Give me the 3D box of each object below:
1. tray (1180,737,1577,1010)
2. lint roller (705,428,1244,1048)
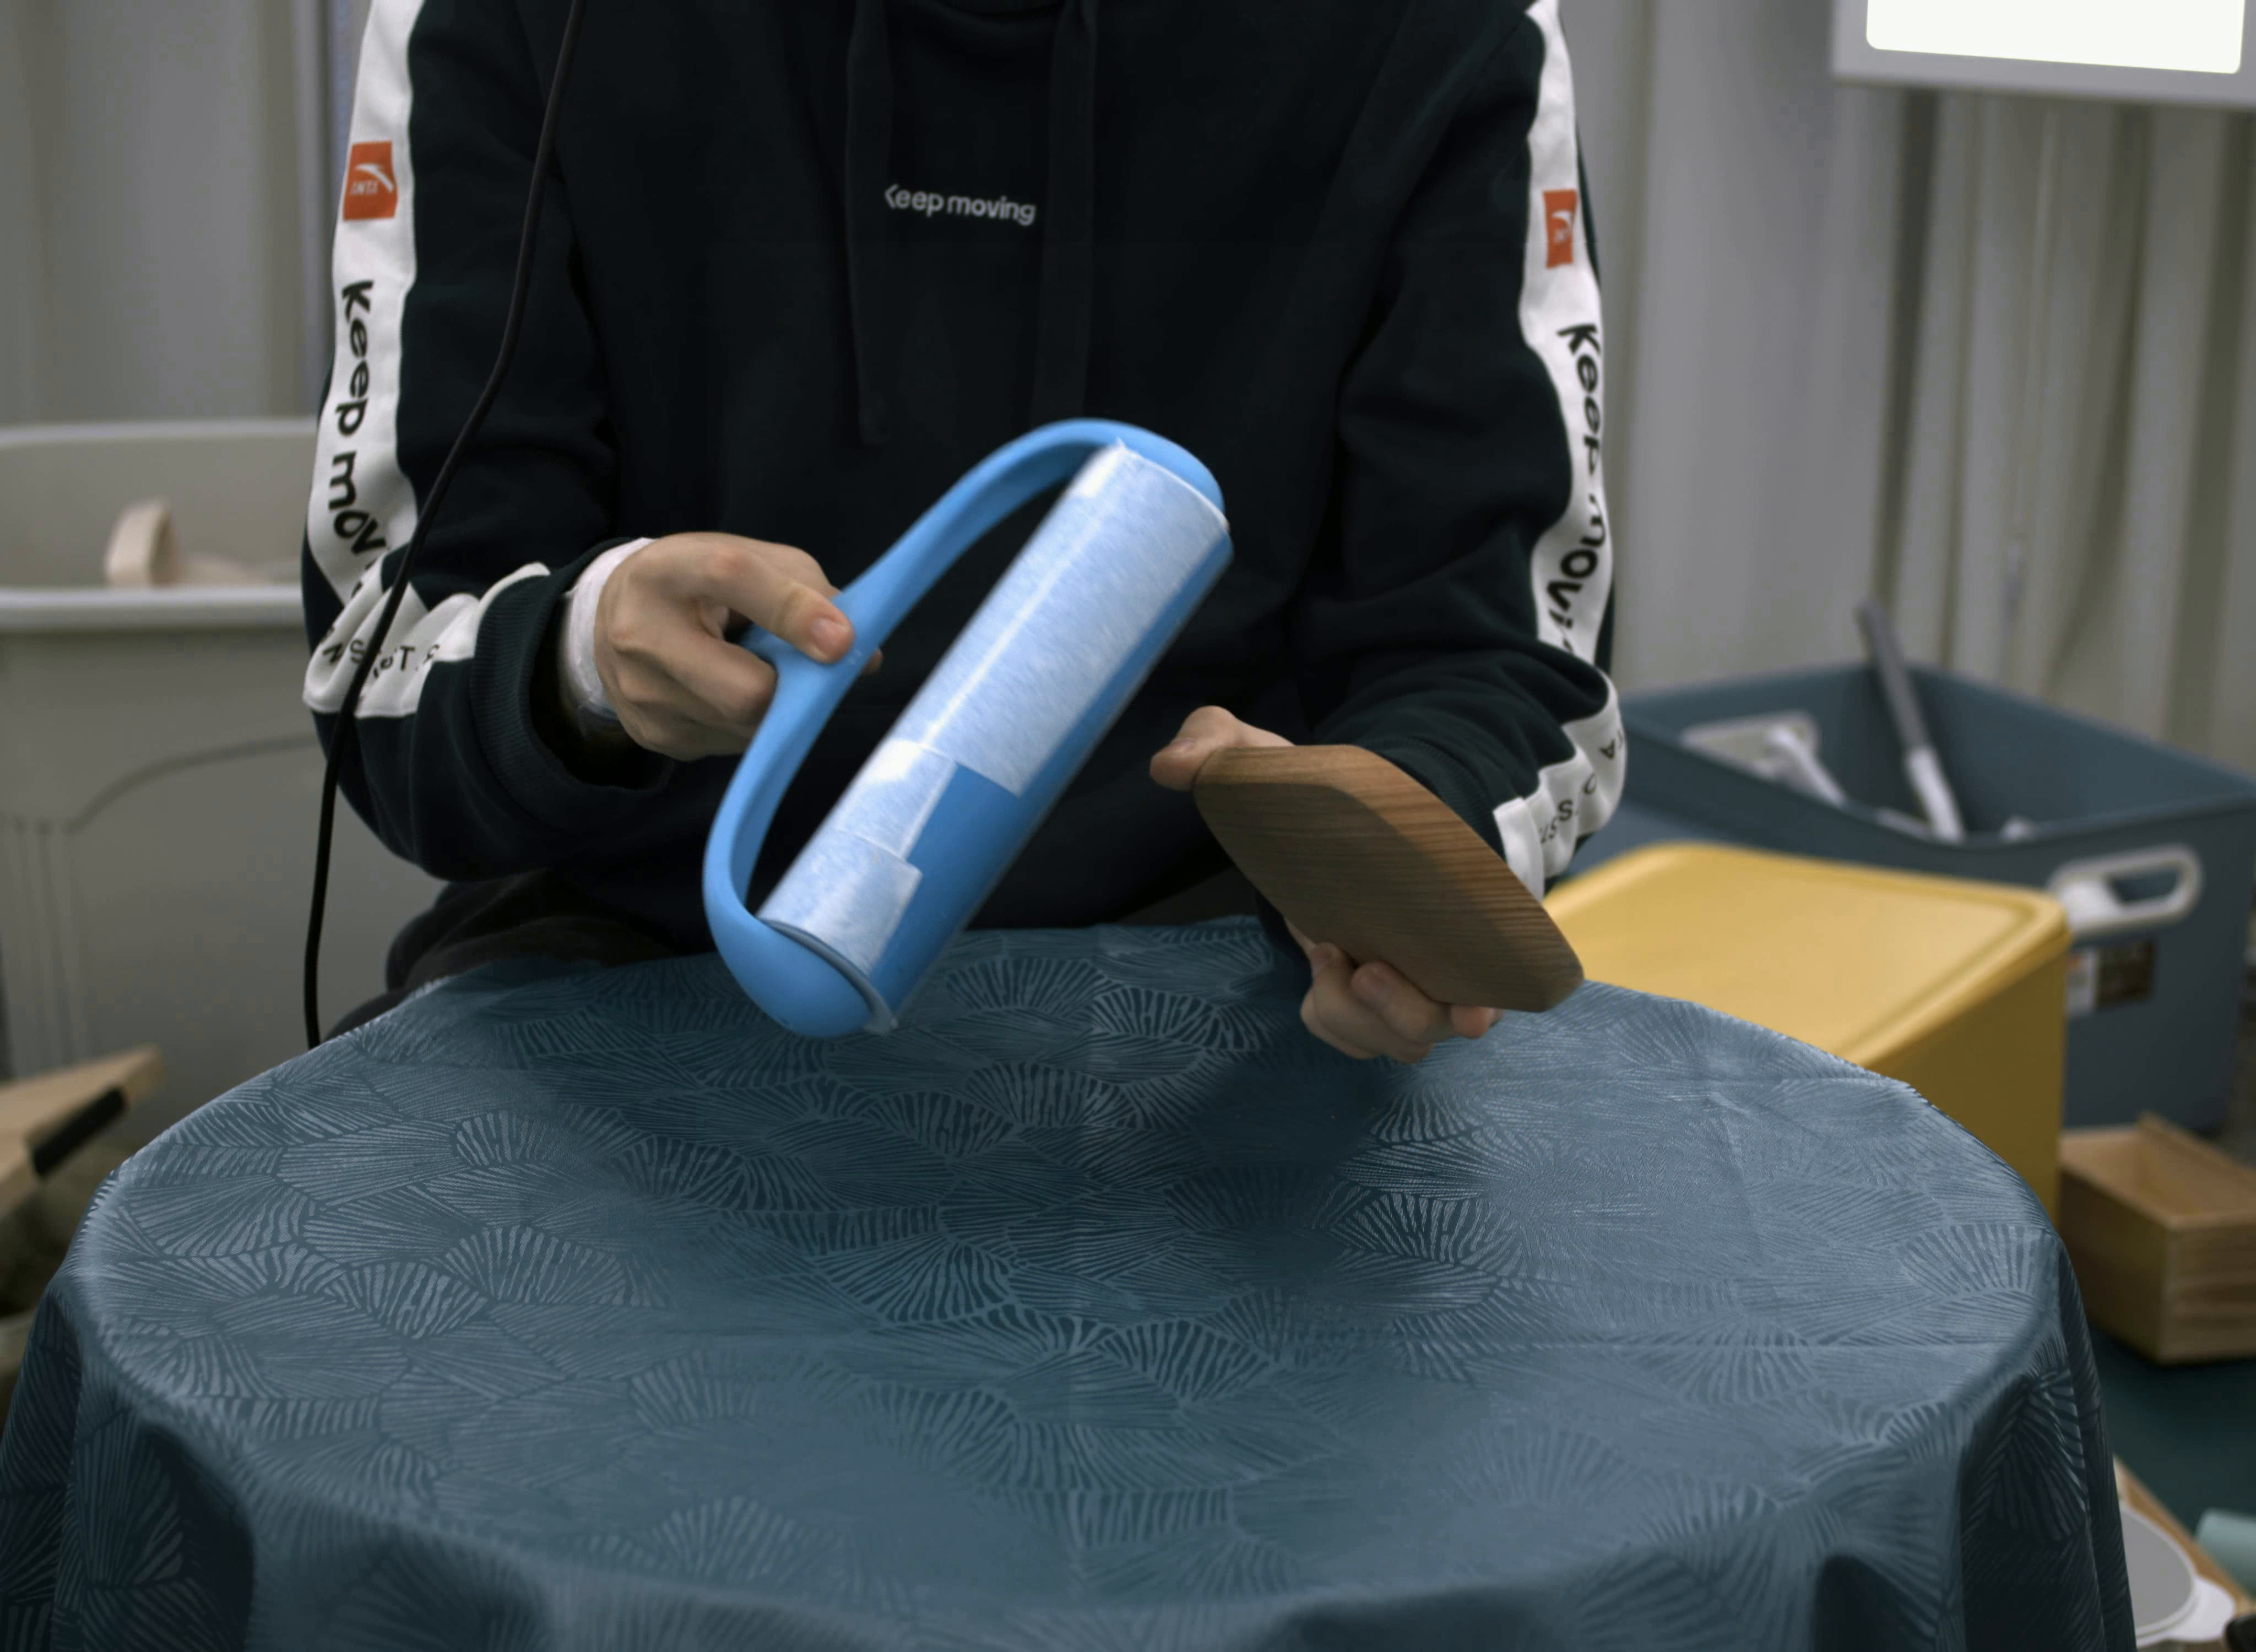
[{"bbox_3d":[0.072,0.015,1.602,0.020,0.102,0.230,-44,11,-12],"label":"tray"},{"bbox_3d":[-0.082,-0.036,1.658,0.178,0.069,0.228,13,61,40],"label":"lint roller"}]
